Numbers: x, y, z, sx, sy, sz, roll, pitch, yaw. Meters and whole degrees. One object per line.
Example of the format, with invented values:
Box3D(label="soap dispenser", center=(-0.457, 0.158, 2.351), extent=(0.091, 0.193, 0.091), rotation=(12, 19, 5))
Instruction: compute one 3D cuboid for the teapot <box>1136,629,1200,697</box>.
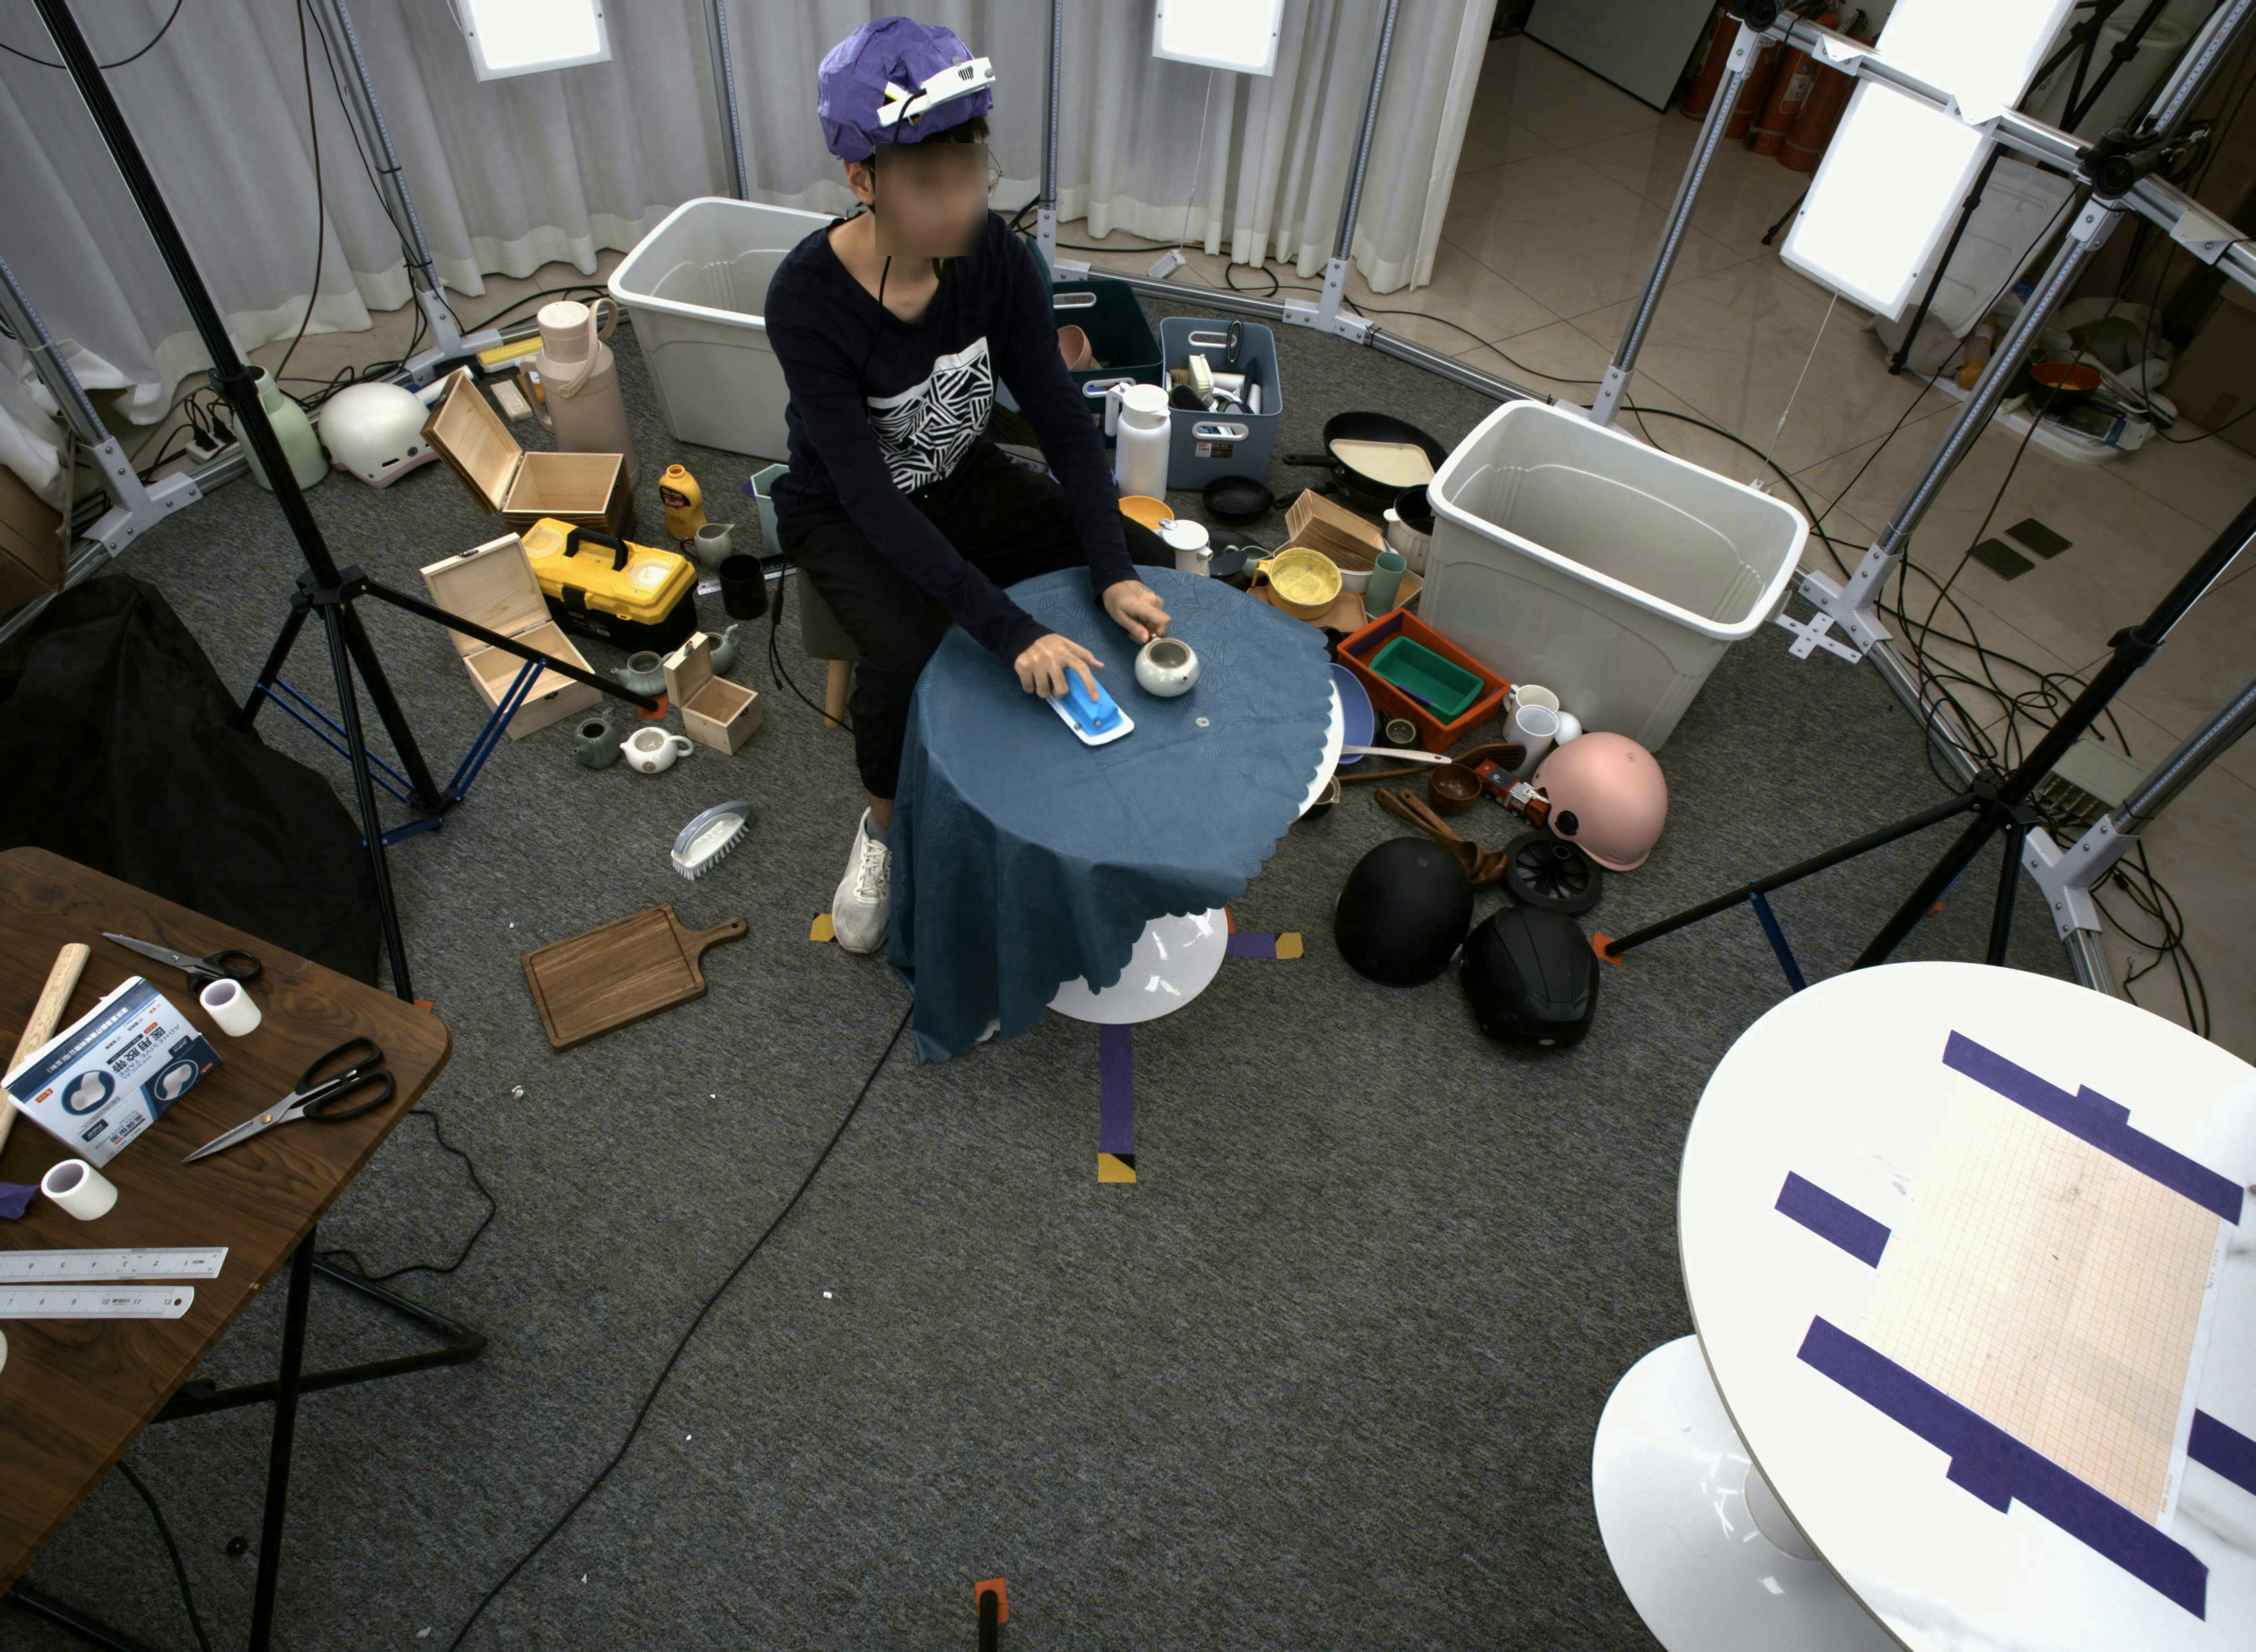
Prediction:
Box3D(label="teapot", center=(0.052, -0.232, 1.834), extent=(0.092, 0.058, 0.131), rotation=(-23, 55, -18))

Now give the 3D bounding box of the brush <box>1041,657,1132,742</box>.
Box3D(label="brush", center=(-0.055, -0.182, 1.779), extent=(0.084, 0.054, 0.147), rotation=(-20, 59, -27))
